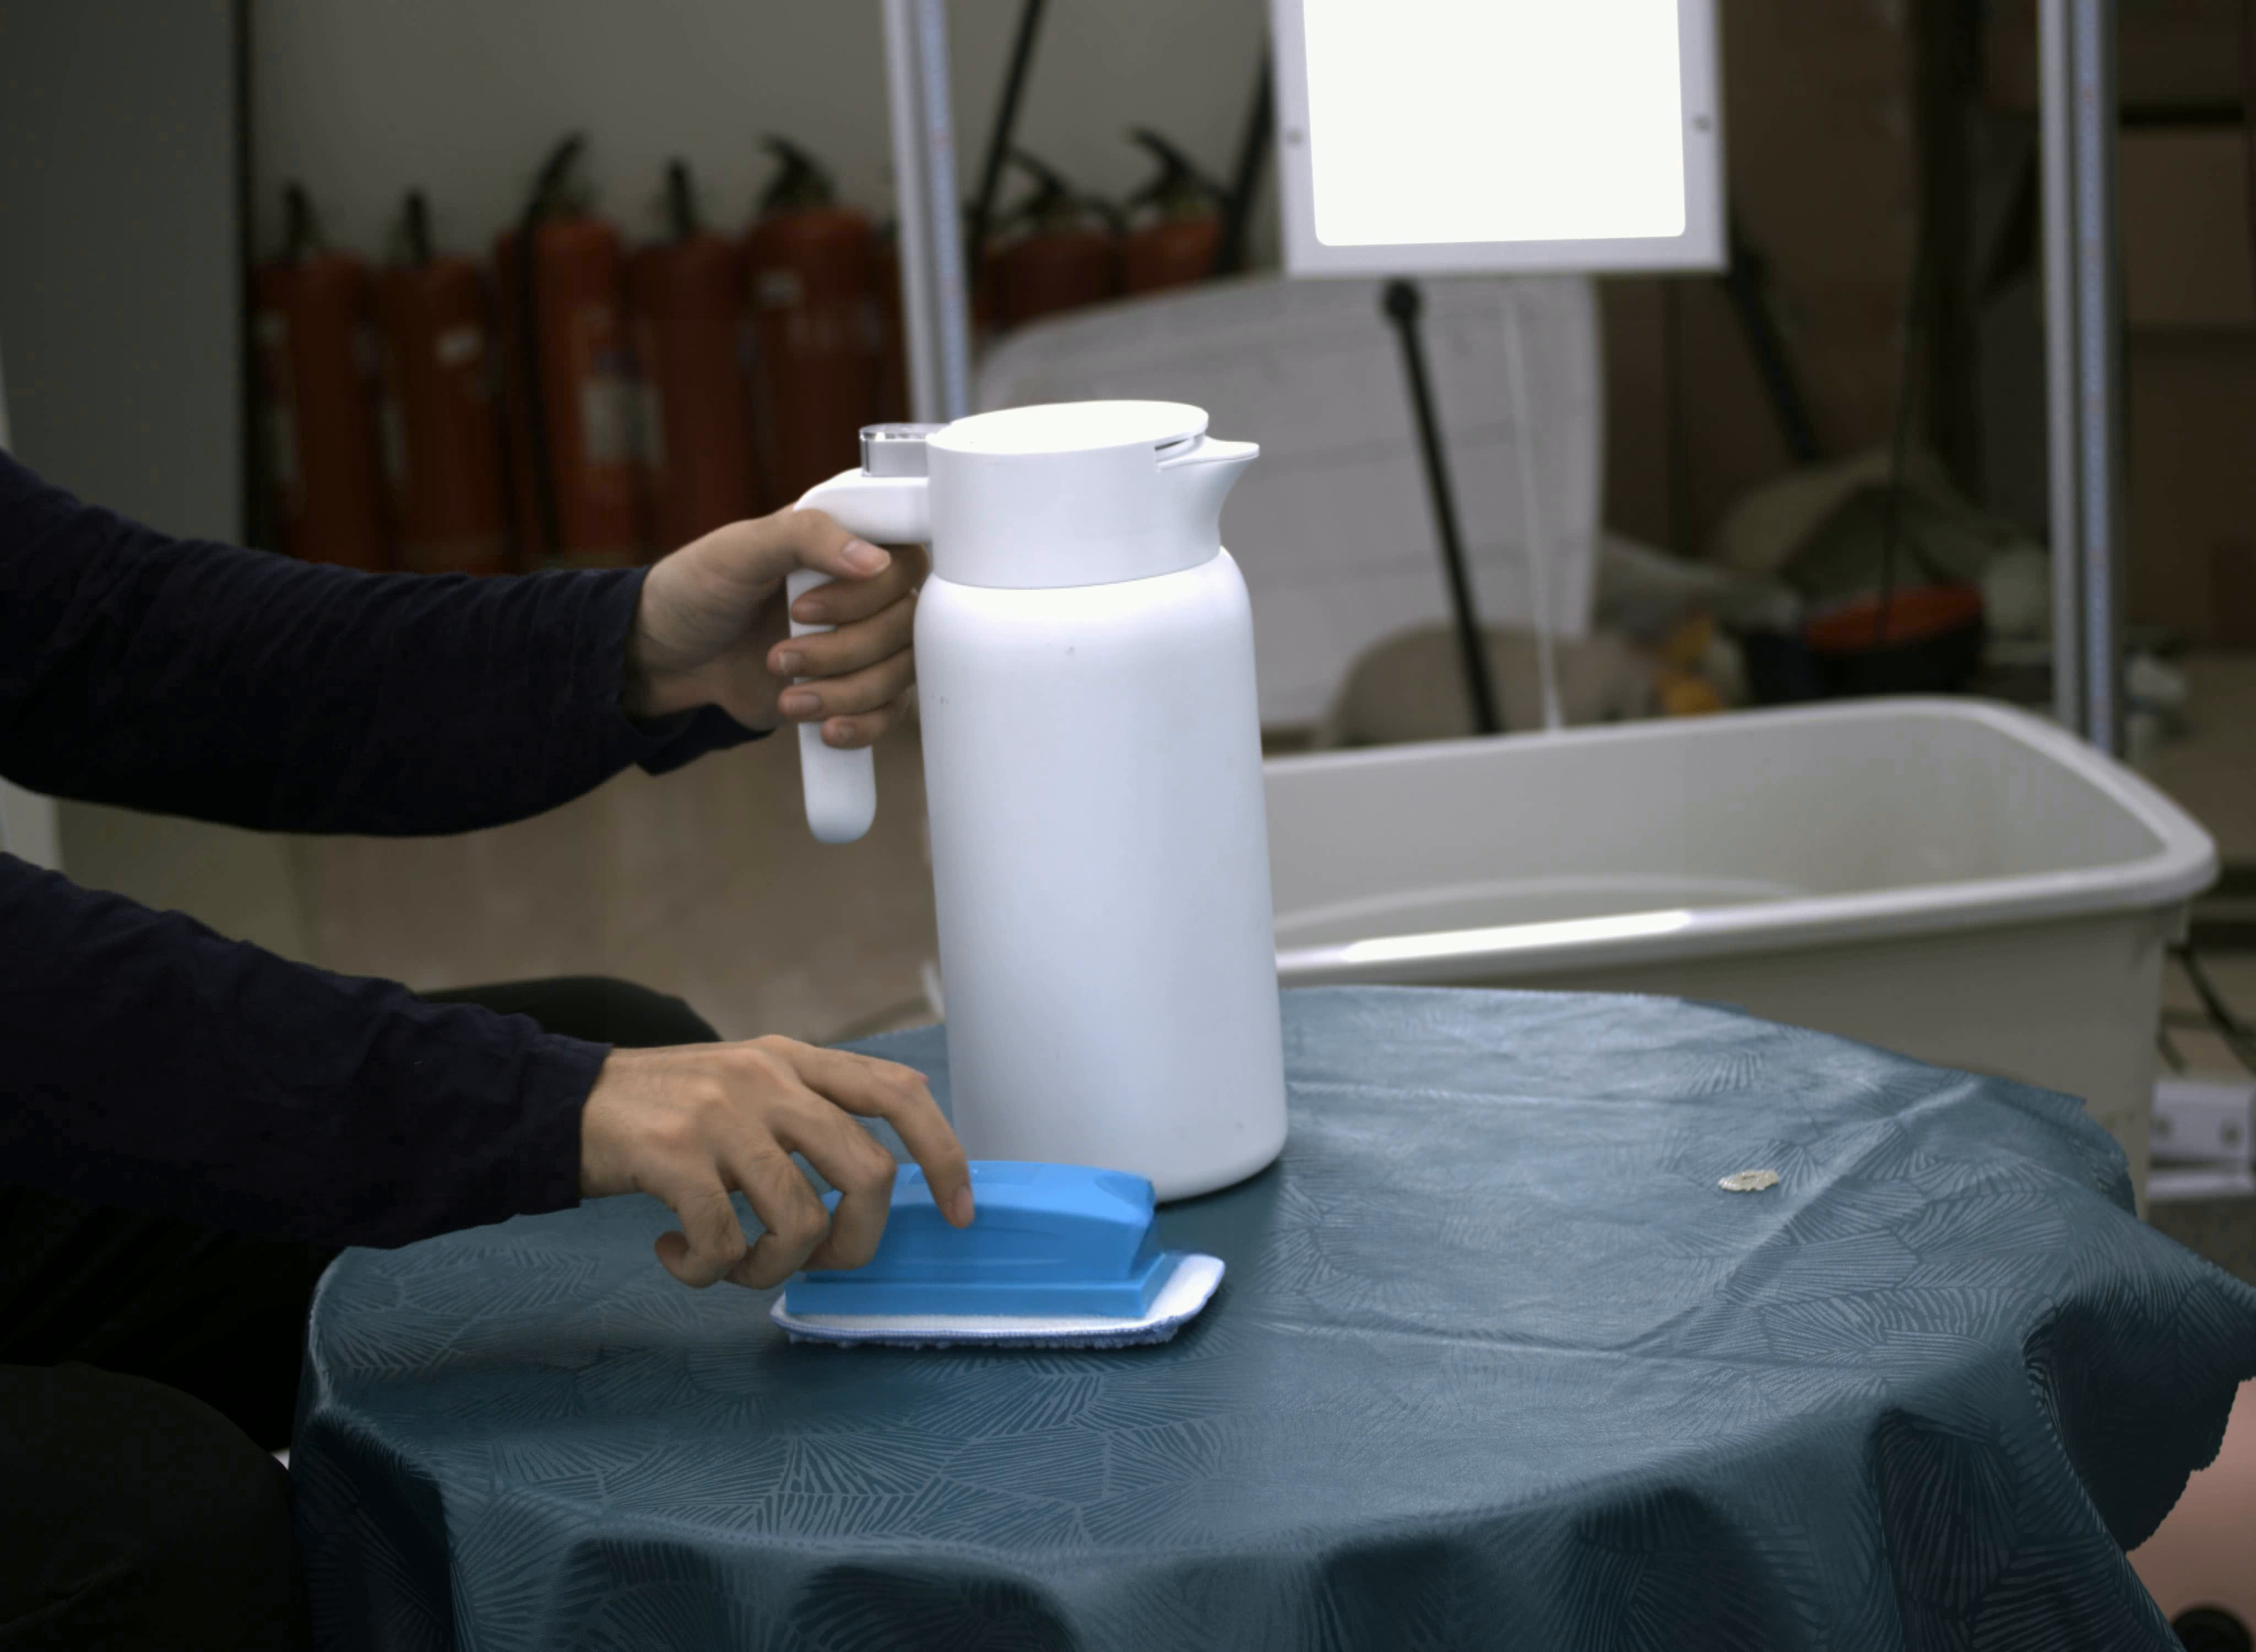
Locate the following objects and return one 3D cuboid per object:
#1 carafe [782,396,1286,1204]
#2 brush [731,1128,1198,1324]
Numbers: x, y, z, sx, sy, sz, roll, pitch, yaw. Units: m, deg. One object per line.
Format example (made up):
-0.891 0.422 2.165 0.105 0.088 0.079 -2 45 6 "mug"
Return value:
-0.028 -0.009 1.902 0.175 0.270 0.122 0 16 20 "carafe"
-0.052 0.128 1.774 0.145 0.056 0.082 4 13 17 "brush"
